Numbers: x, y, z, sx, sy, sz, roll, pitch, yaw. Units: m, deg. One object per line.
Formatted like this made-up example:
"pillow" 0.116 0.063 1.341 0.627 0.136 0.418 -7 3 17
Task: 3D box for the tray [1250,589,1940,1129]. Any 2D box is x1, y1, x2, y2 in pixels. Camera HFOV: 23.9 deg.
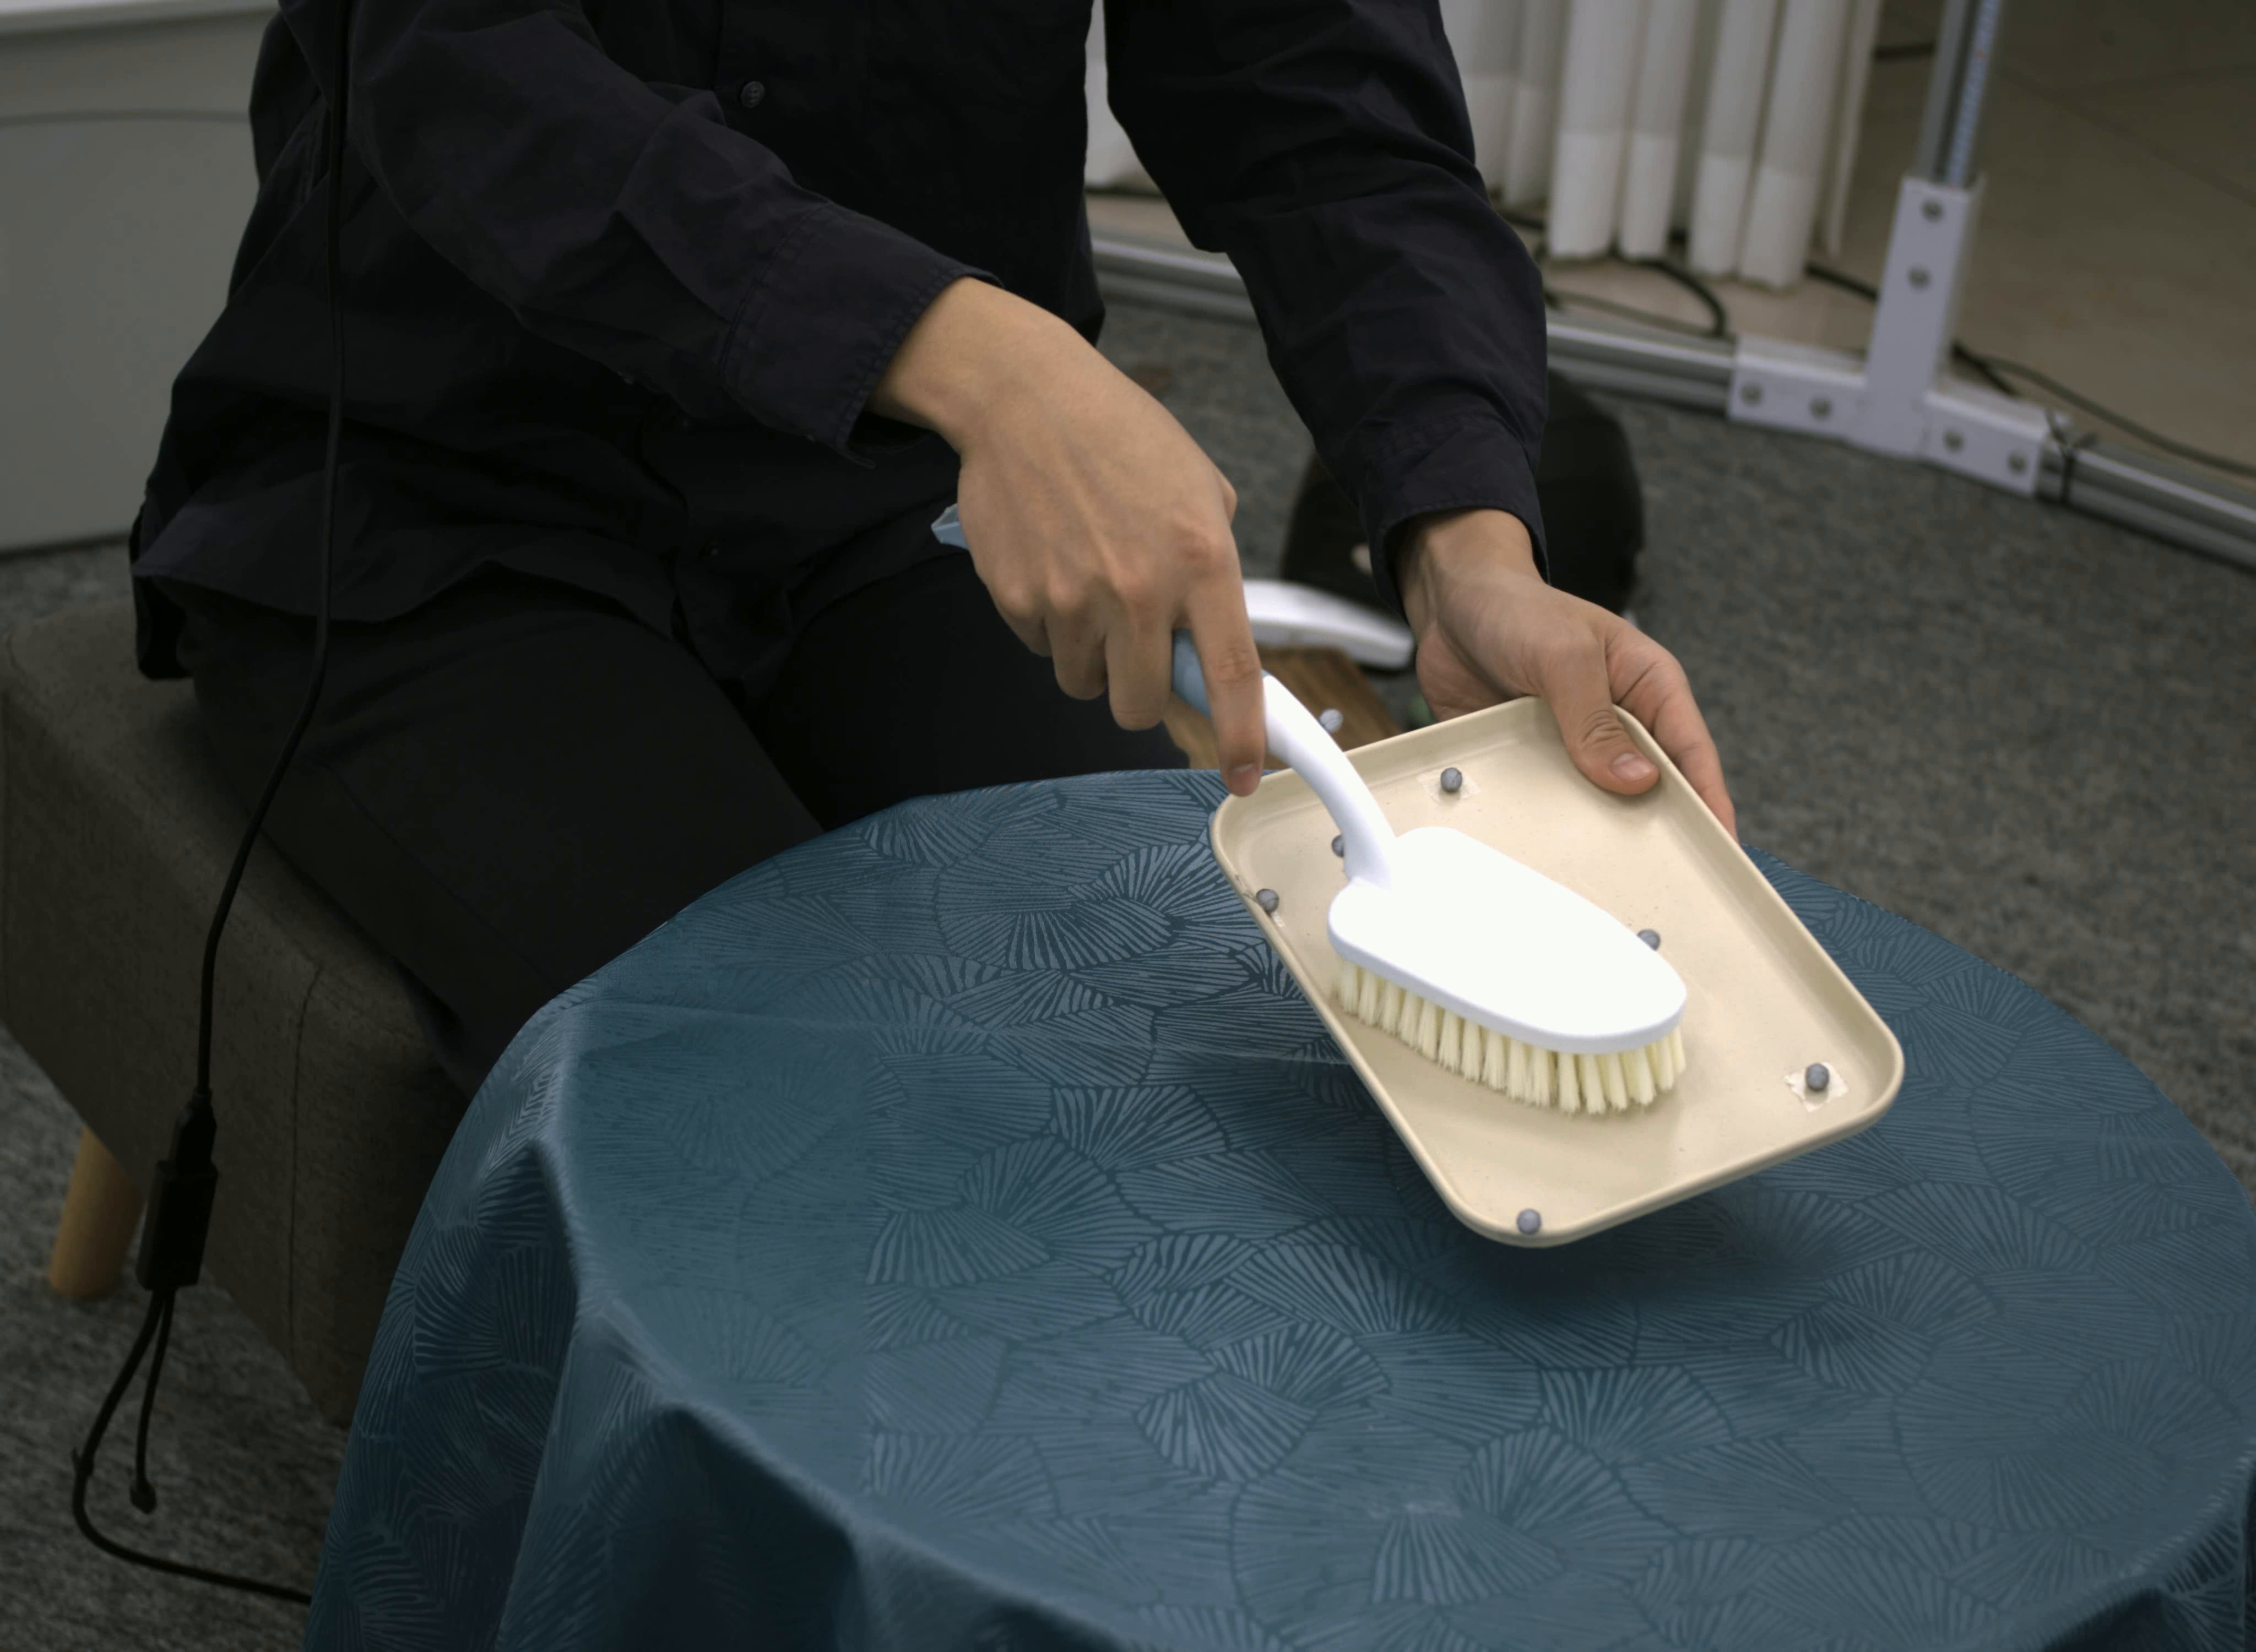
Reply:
"tray" 0.159 0.010 1.855 0.170 0.017 0.242 -18 45 -17

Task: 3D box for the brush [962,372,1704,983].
"brush" 0.067 -0.046 1.863 0.327 0.084 0.082 36 15 19
